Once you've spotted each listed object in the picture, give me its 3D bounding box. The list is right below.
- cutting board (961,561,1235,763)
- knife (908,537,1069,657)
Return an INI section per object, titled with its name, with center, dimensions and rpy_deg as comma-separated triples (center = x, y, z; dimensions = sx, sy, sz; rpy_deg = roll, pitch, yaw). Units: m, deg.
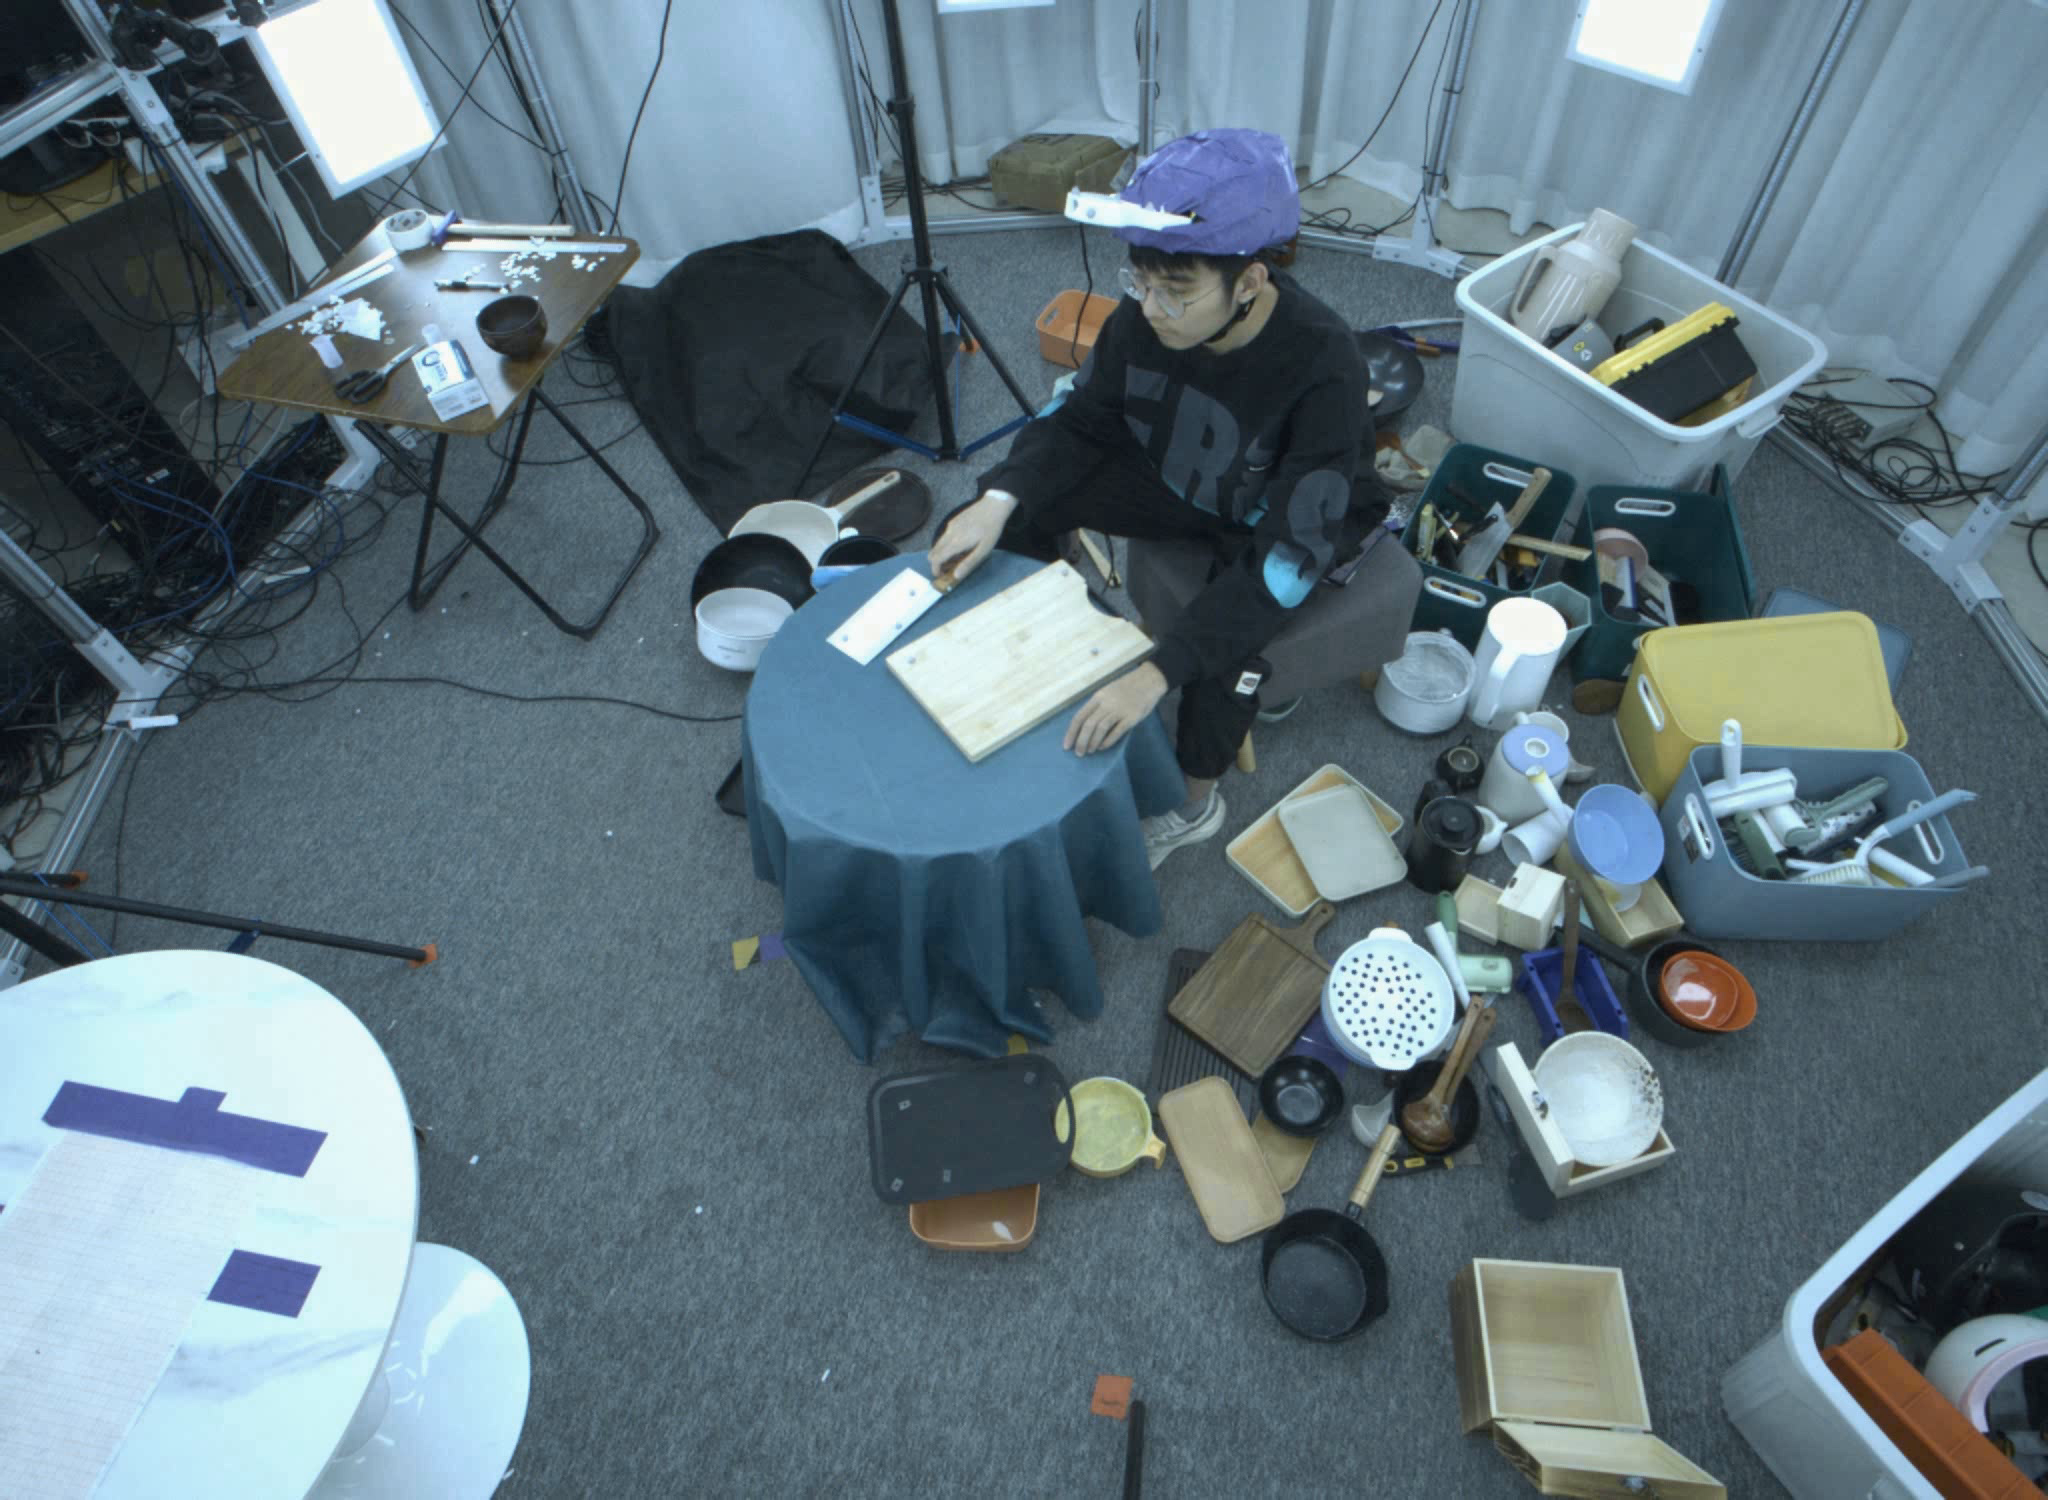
[cutting board]
center = 0.109, -0.143, 1.874
dimensions = 0.351, 0.024, 0.246
rpy_deg = -29, 59, -17
[knife]
center = -0.060, -0.259, 1.963
dimensions = 0.091, 0.021, 0.307
rpy_deg = 38, 67, 26
